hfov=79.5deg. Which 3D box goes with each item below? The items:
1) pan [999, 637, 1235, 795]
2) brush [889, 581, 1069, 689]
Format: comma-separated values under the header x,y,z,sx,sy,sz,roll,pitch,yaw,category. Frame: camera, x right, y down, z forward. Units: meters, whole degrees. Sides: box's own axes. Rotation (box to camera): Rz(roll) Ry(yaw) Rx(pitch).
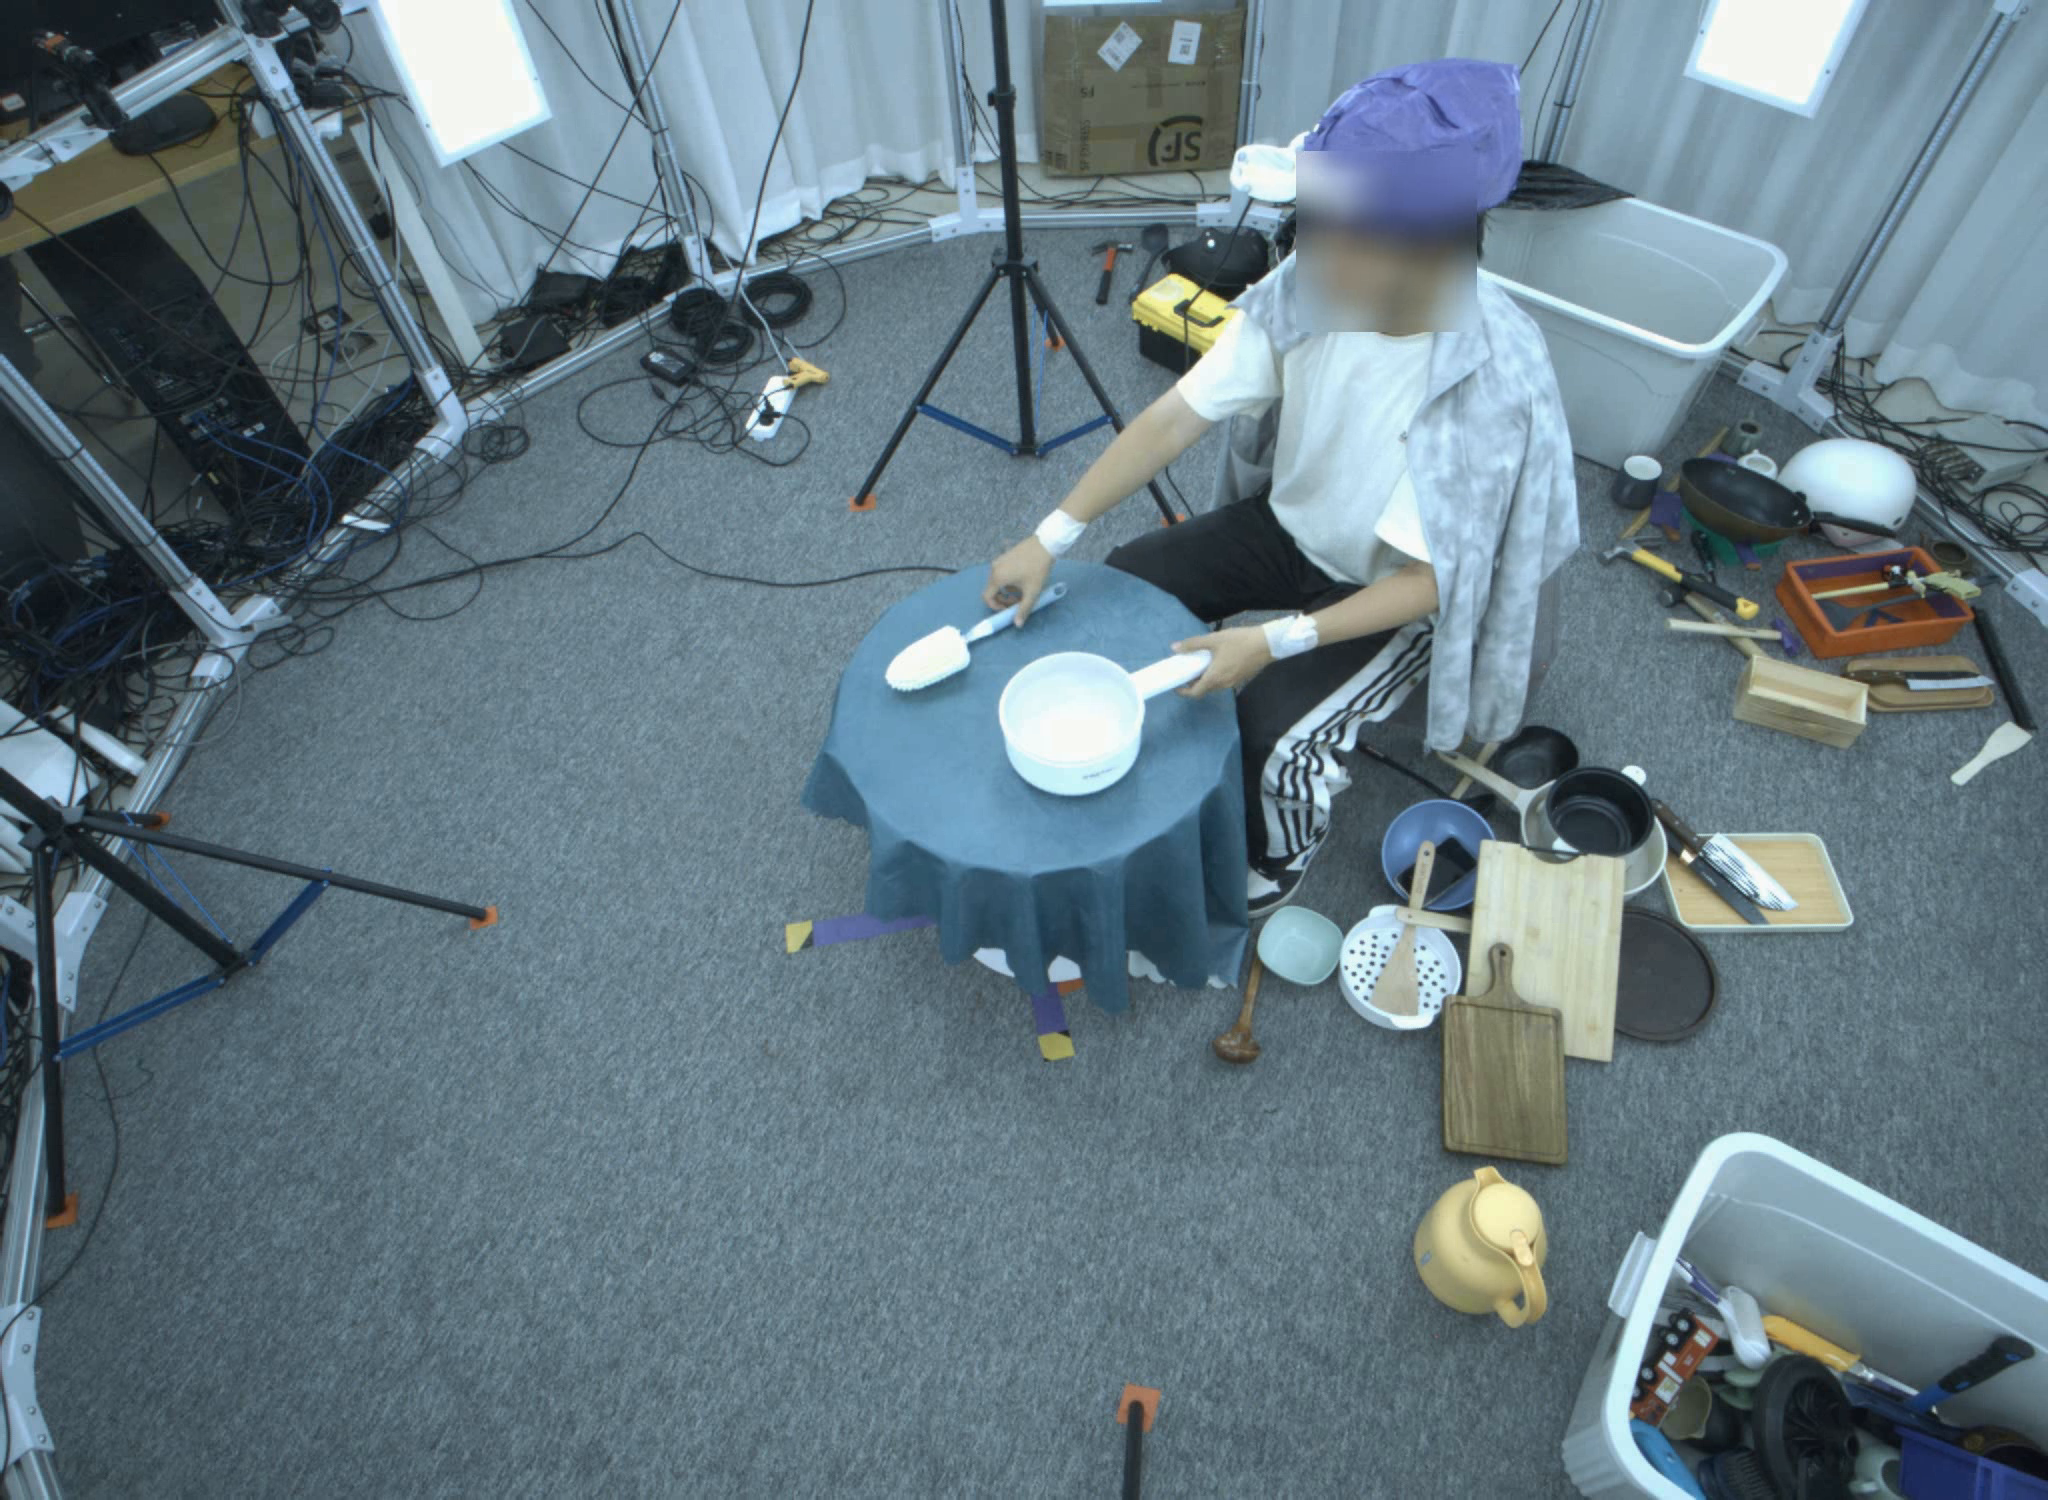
x,y,z,sx,sy,sz,roll,pitch,yaw,category
0.137,-0.062,1.767,0.357,0.103,0.197,-23,57,-14,pan
-0.061,-0.184,1.871,0.328,0.084,0.083,-29,52,-16,brush
